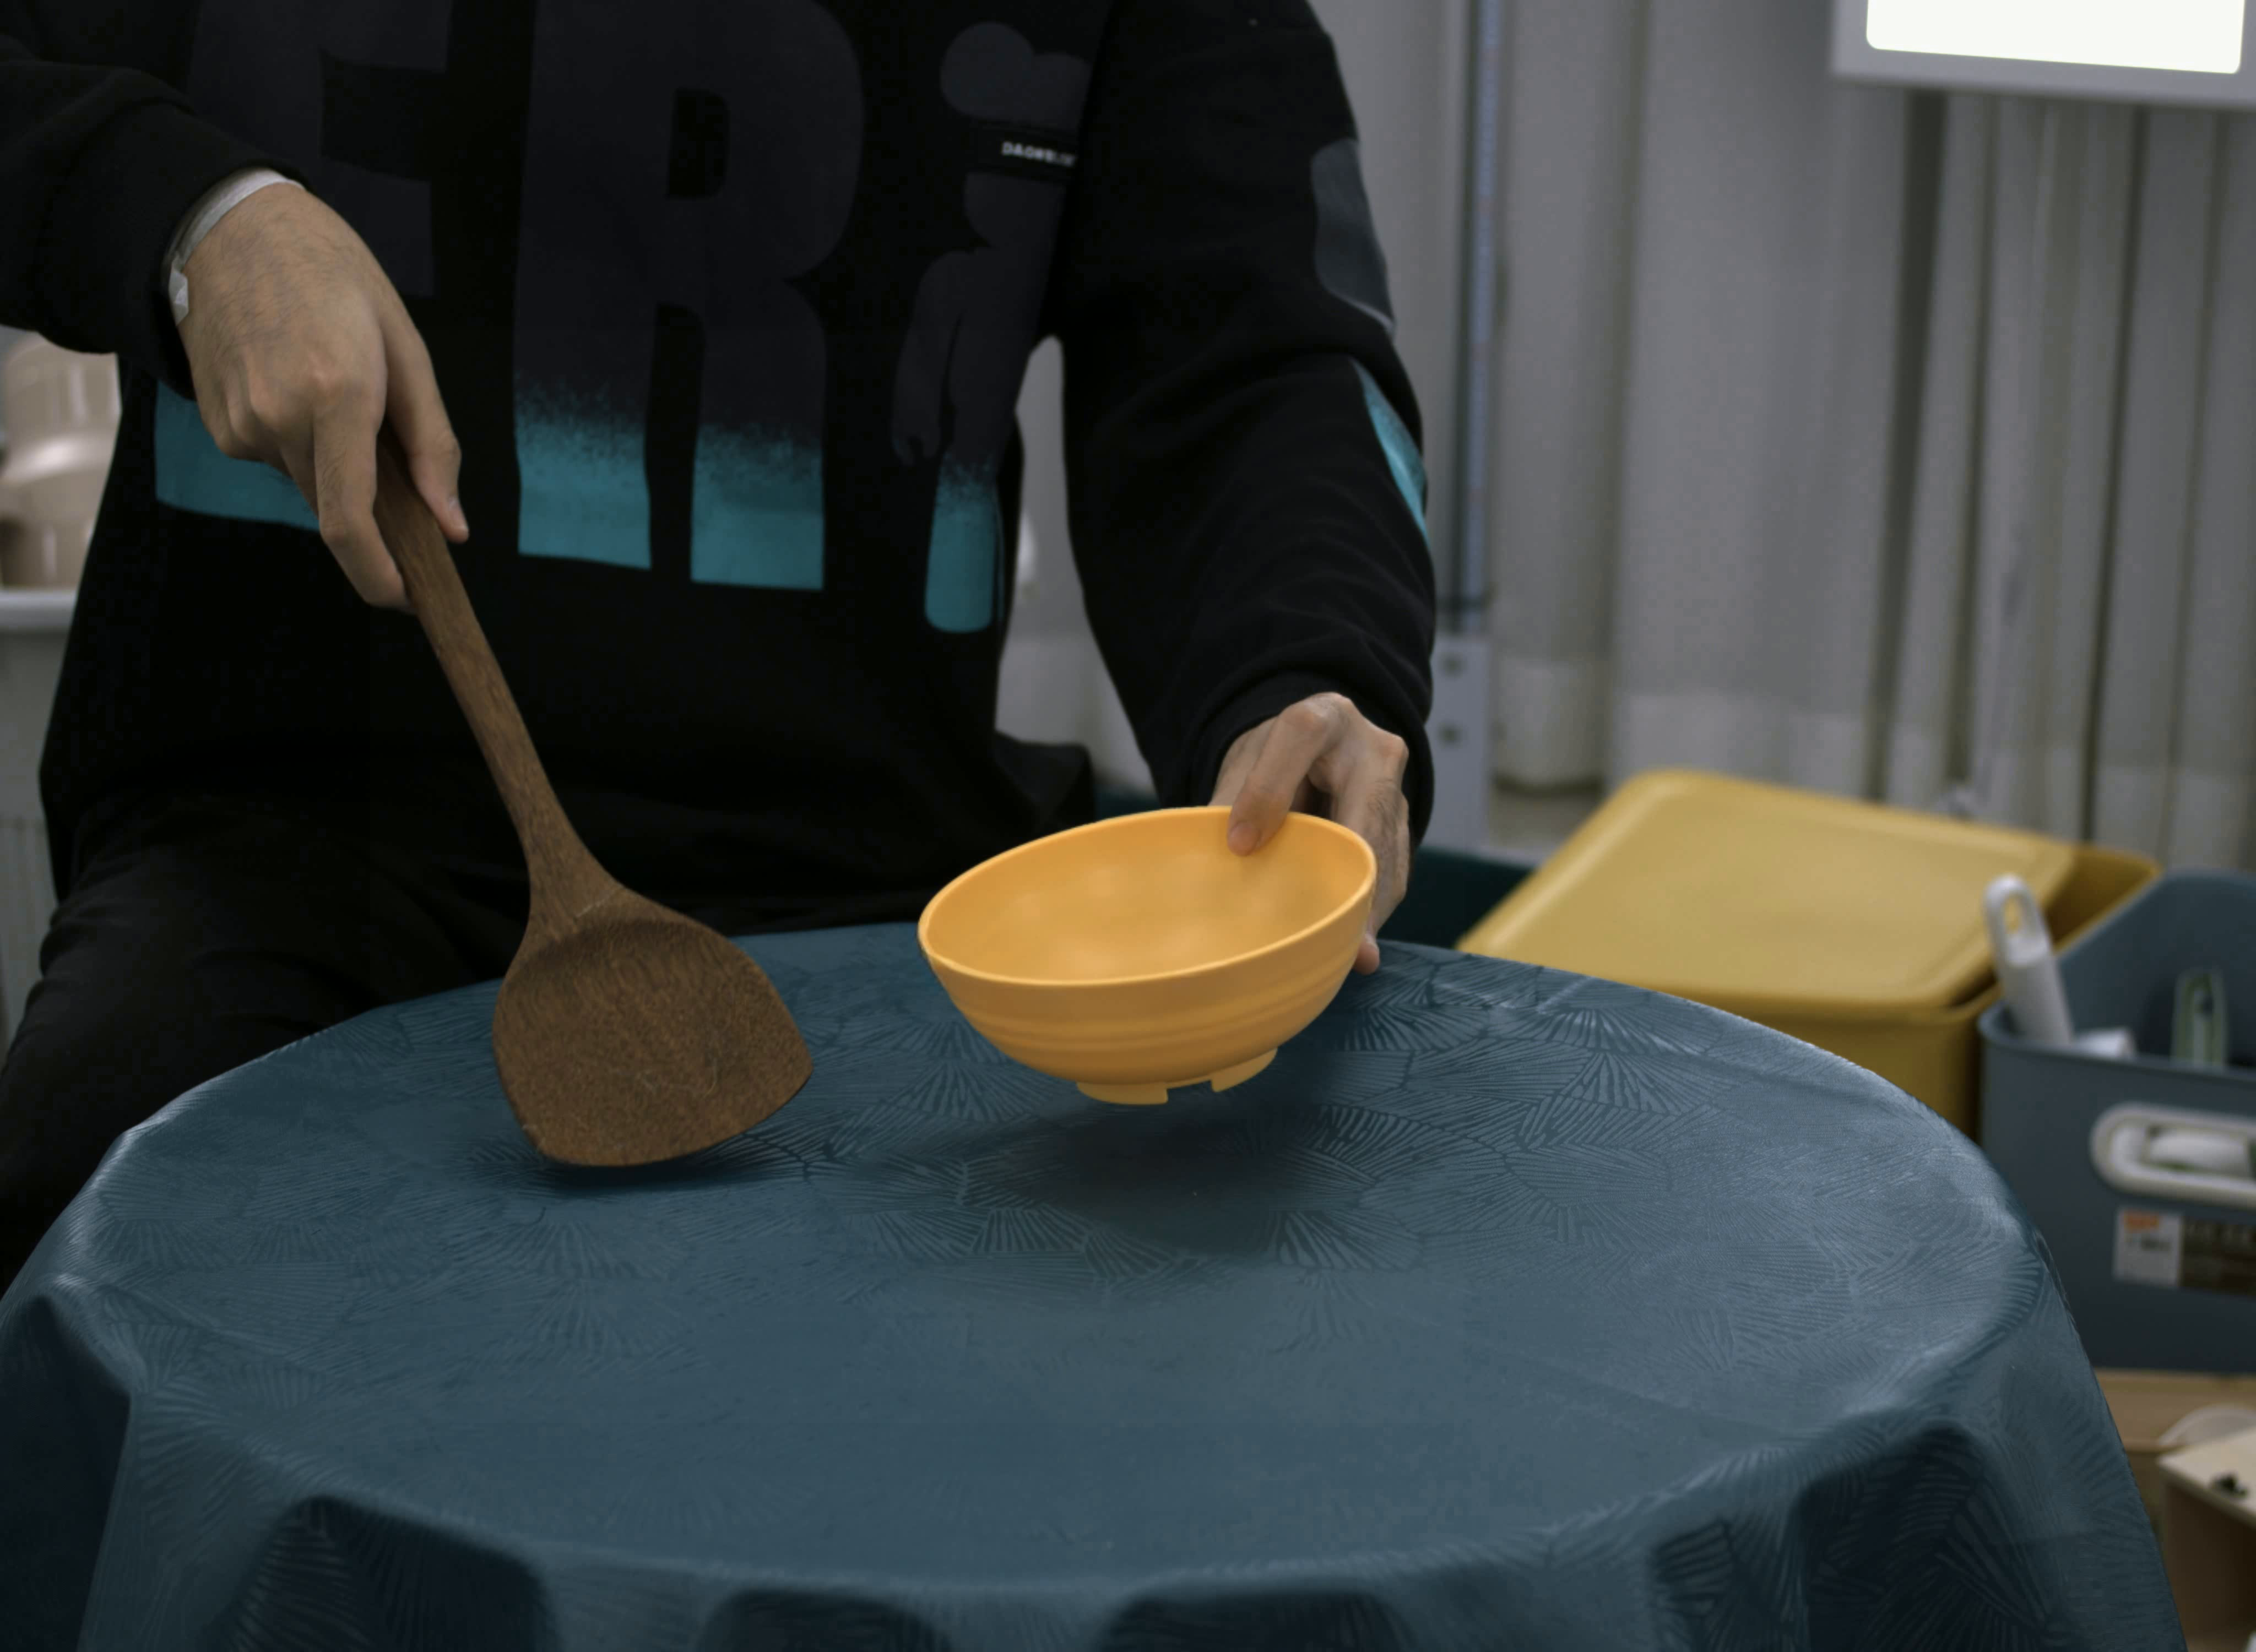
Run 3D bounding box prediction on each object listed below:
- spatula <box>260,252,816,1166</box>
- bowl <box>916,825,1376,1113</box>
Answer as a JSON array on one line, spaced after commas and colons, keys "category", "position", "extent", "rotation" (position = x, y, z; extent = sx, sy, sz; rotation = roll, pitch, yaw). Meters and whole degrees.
[{"category": "spatula", "position": [-0.211, -0.049, 1.715], "extent": [0.096, 0.016, 0.382], "rotation": [-18, 61, -18]}, {"category": "bowl", "position": [0.009, 0.050, 1.652], "extent": [0.145, 0.060, 0.144], "rotation": [-6, 19, 3]}]
